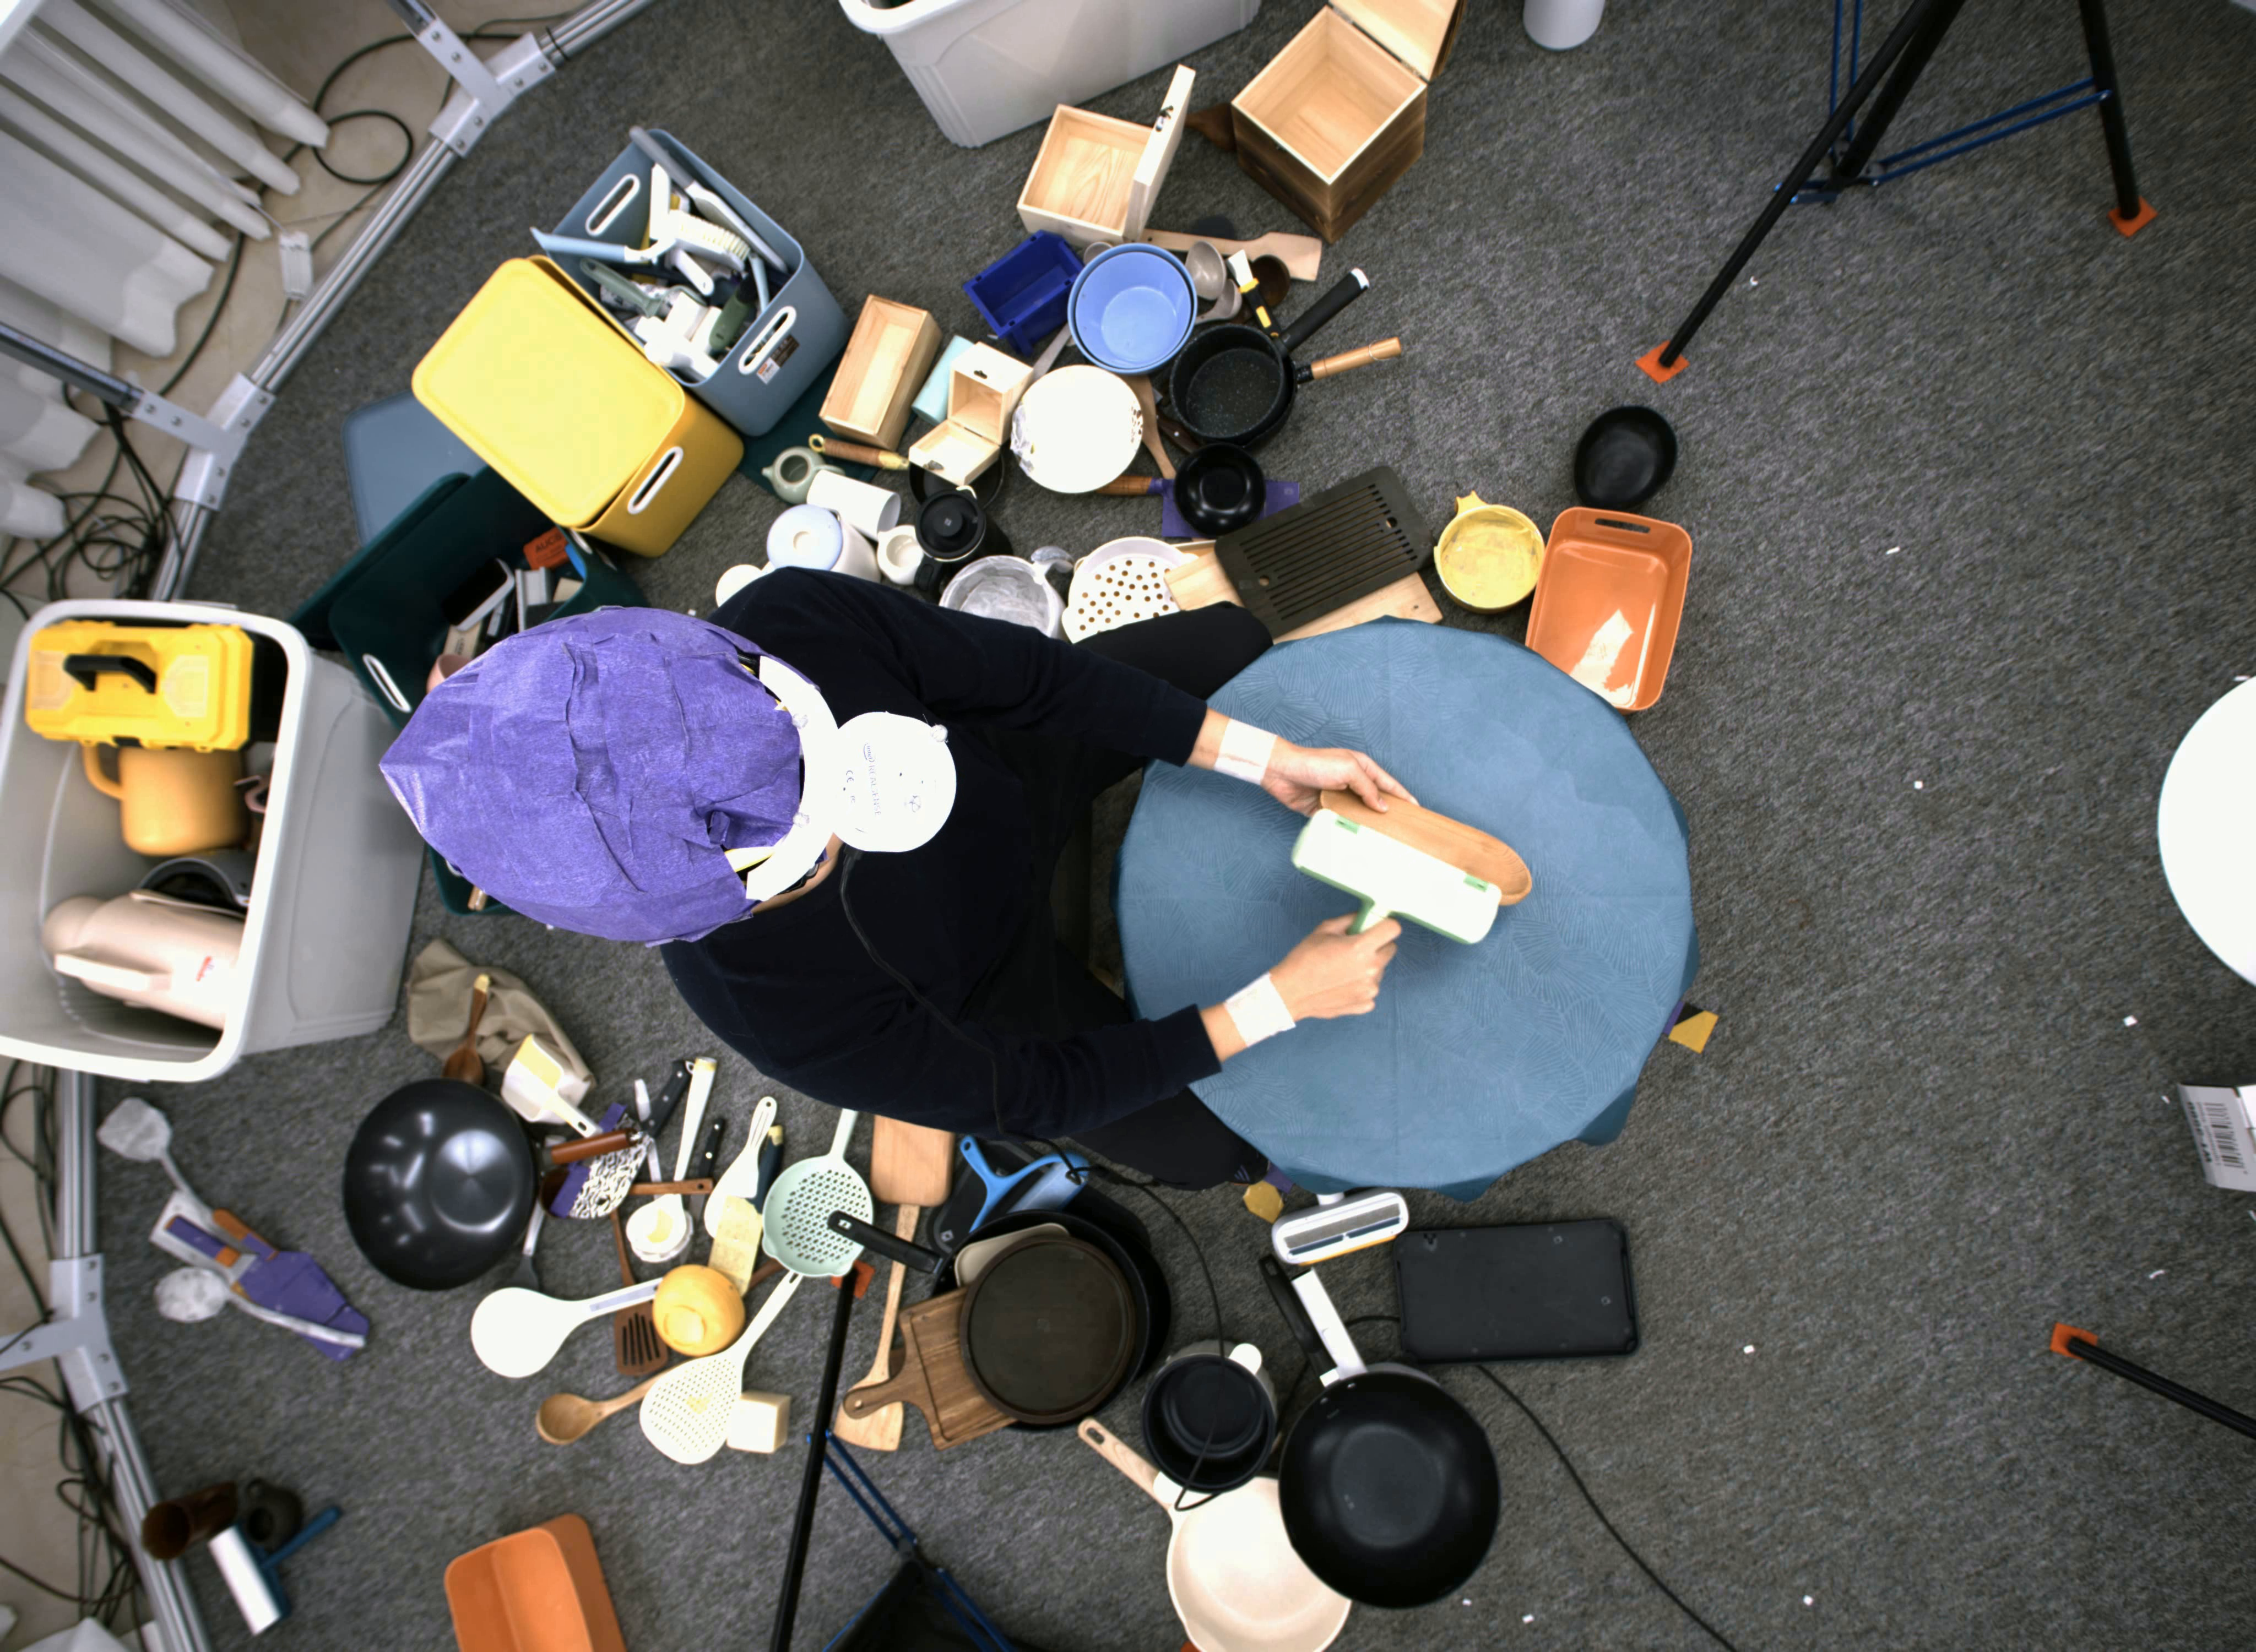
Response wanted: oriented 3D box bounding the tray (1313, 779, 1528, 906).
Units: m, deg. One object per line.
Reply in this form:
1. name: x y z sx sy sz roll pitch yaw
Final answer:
1. tray: 0.291 0.015 1.369 0.231 0.099 0.021 20 127 -3

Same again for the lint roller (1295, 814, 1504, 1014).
1. lint roller: 0.235 0.106 1.319 0.199 0.081 0.185 23 100 -4
